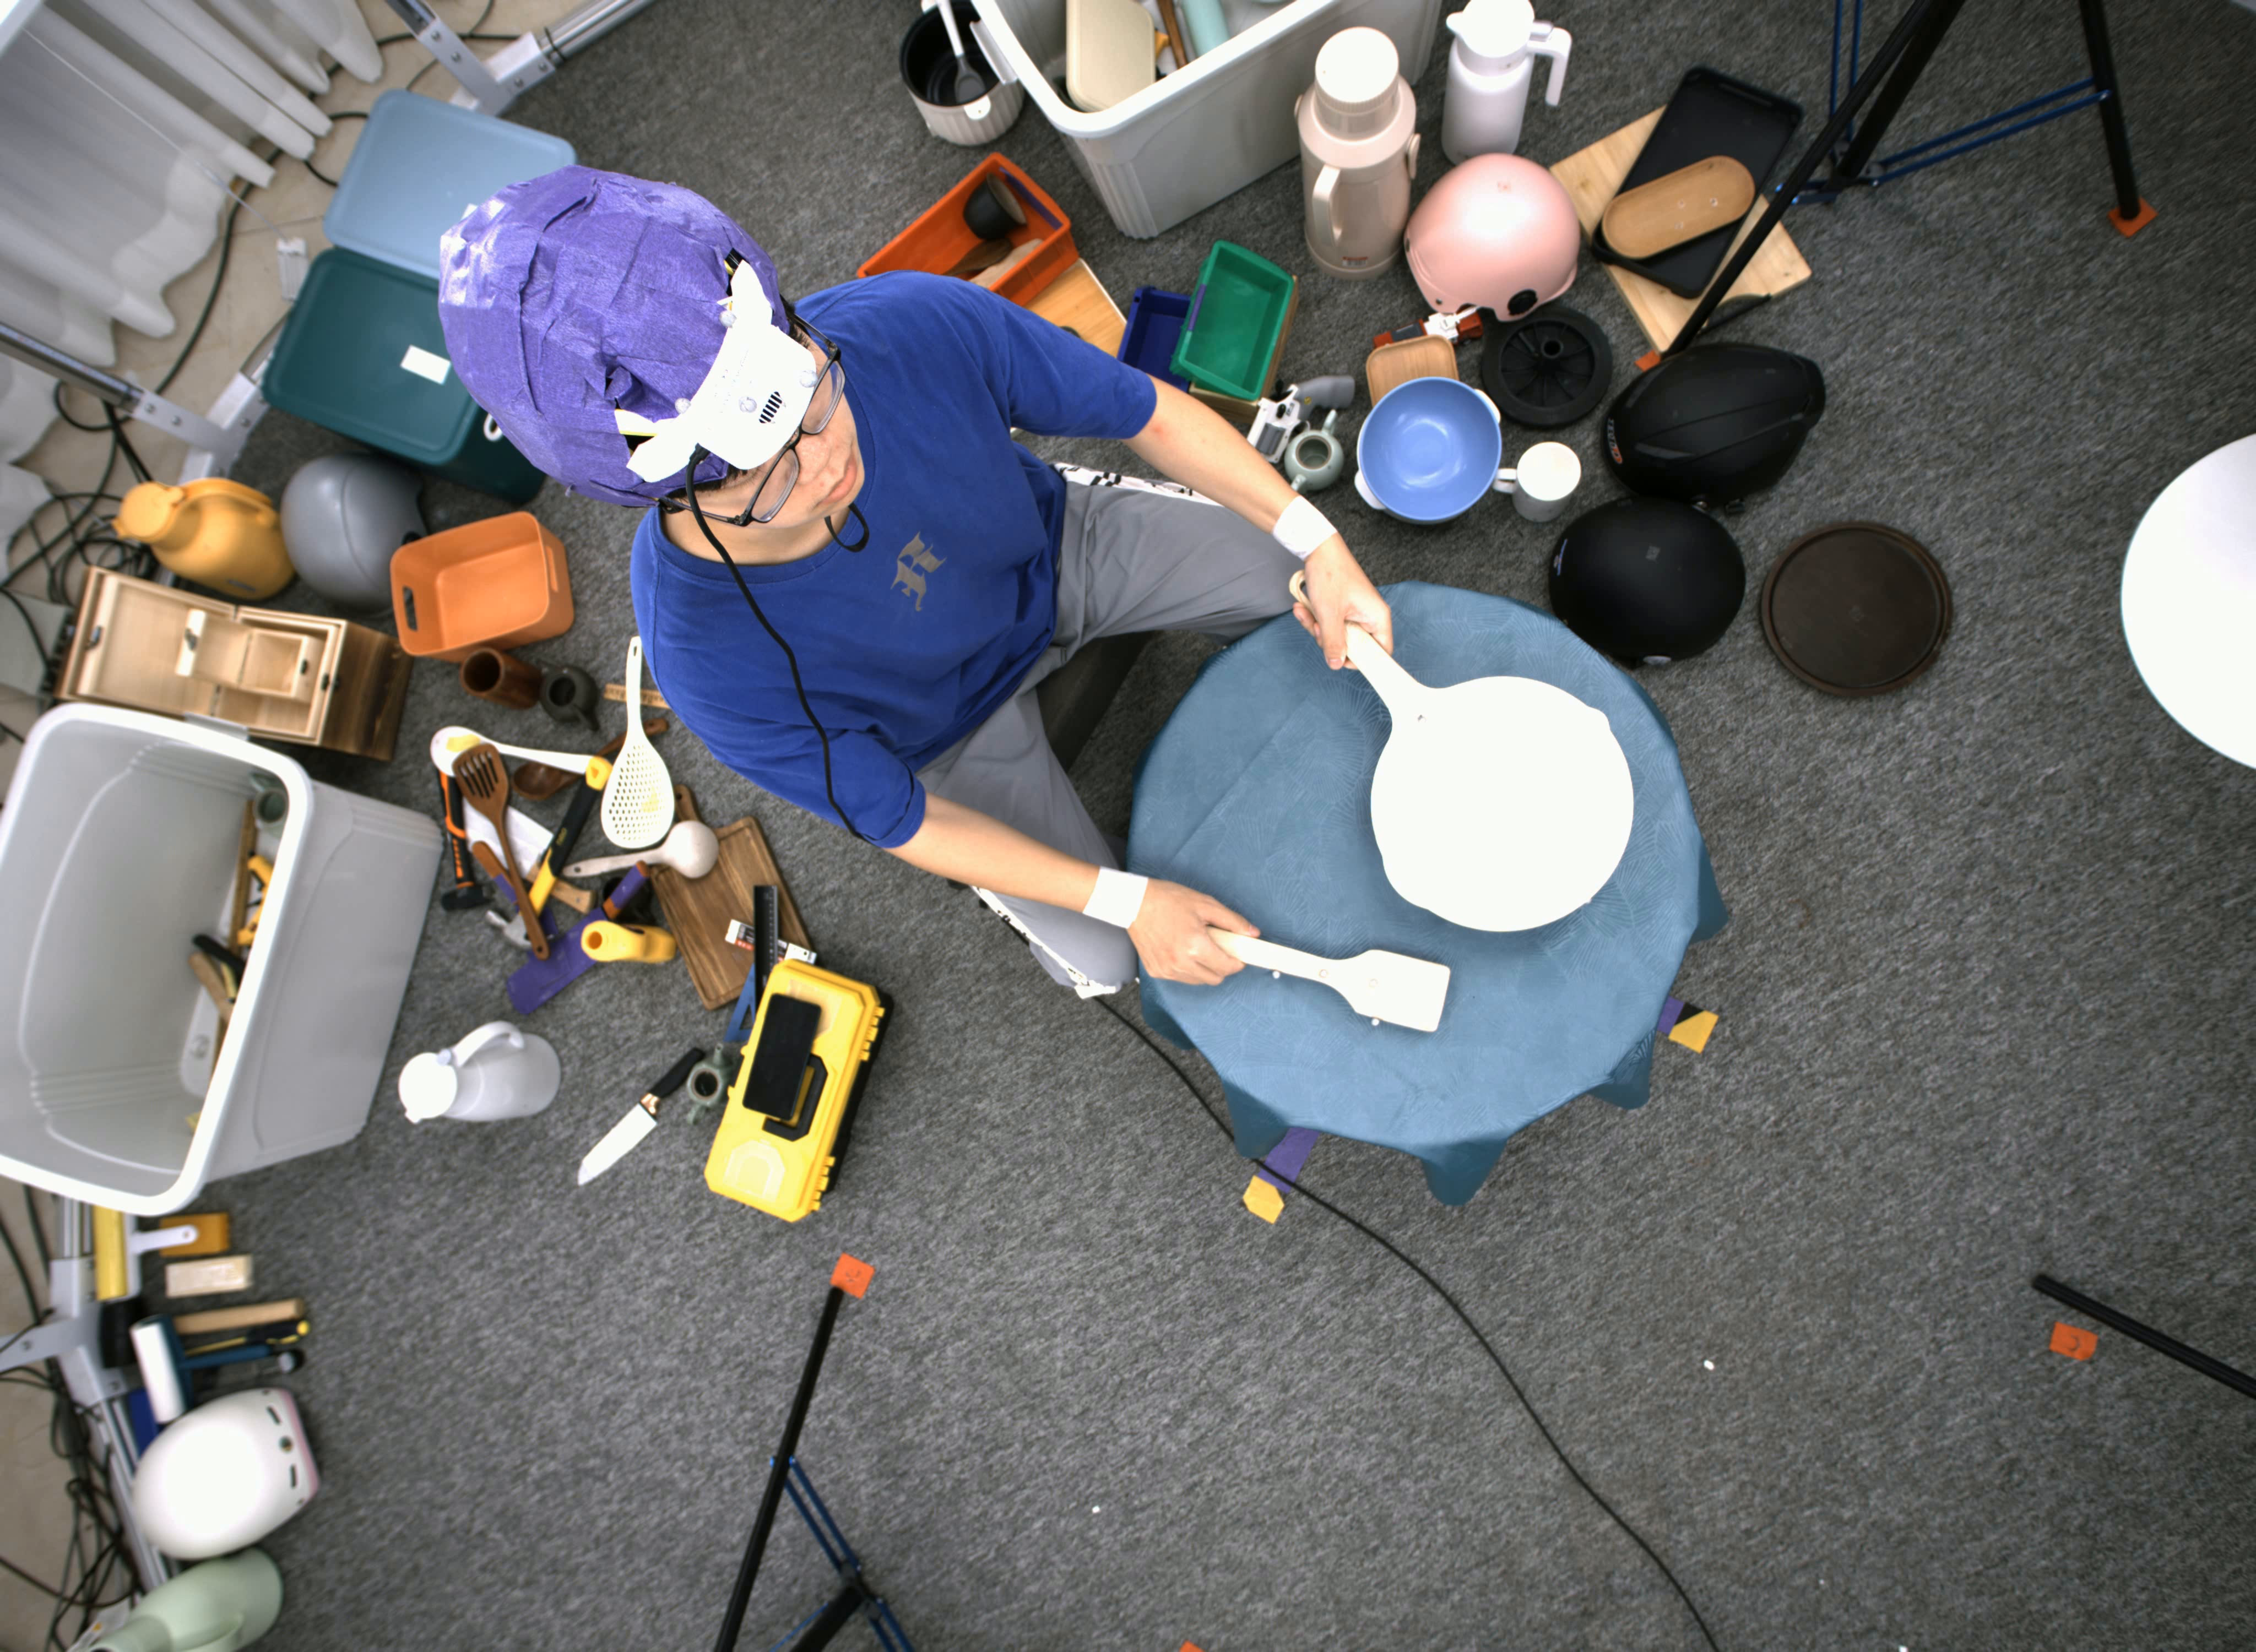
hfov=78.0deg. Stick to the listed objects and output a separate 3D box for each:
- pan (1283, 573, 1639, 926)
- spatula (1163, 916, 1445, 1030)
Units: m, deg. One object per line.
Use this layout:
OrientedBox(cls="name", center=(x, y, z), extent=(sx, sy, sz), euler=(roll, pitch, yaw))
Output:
OrientedBox(cls="pan", center=(0.318, -0.094, 1.393), extent=(0.266, 0.101, 0.432), euler=(-43, 77, 12))
OrientedBox(cls="spatula", center=(0.178, 0.141, 1.435), extent=(0.293, 0.011, 0.071), euler=(14, 83, 7))
